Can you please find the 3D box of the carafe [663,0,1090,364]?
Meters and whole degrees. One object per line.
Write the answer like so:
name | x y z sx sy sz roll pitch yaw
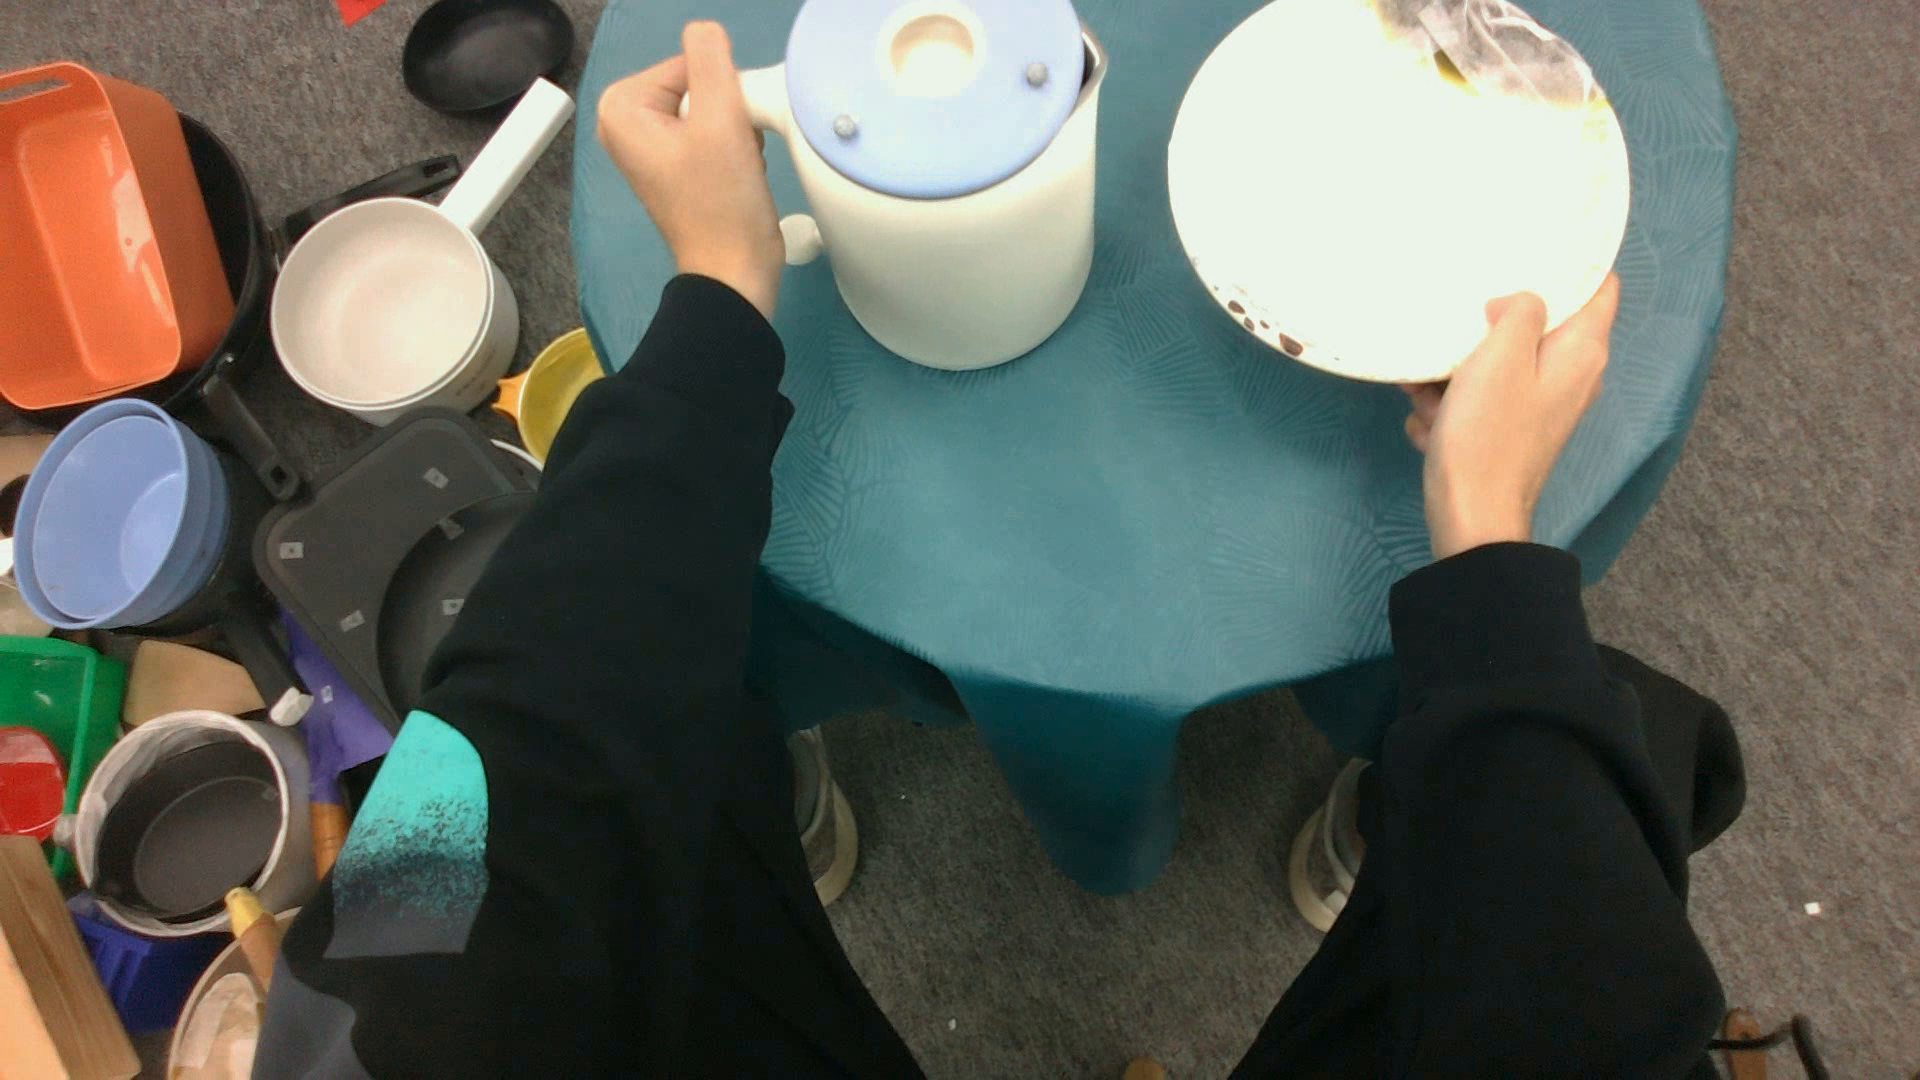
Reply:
carafe | -0.035 -0.169 0.623 0.191 0.182 0.132 -2 73 6

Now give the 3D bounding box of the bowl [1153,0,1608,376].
bowl | 0.193 -0.167 0.662 0.204 0.078 0.204 -1 79 3
